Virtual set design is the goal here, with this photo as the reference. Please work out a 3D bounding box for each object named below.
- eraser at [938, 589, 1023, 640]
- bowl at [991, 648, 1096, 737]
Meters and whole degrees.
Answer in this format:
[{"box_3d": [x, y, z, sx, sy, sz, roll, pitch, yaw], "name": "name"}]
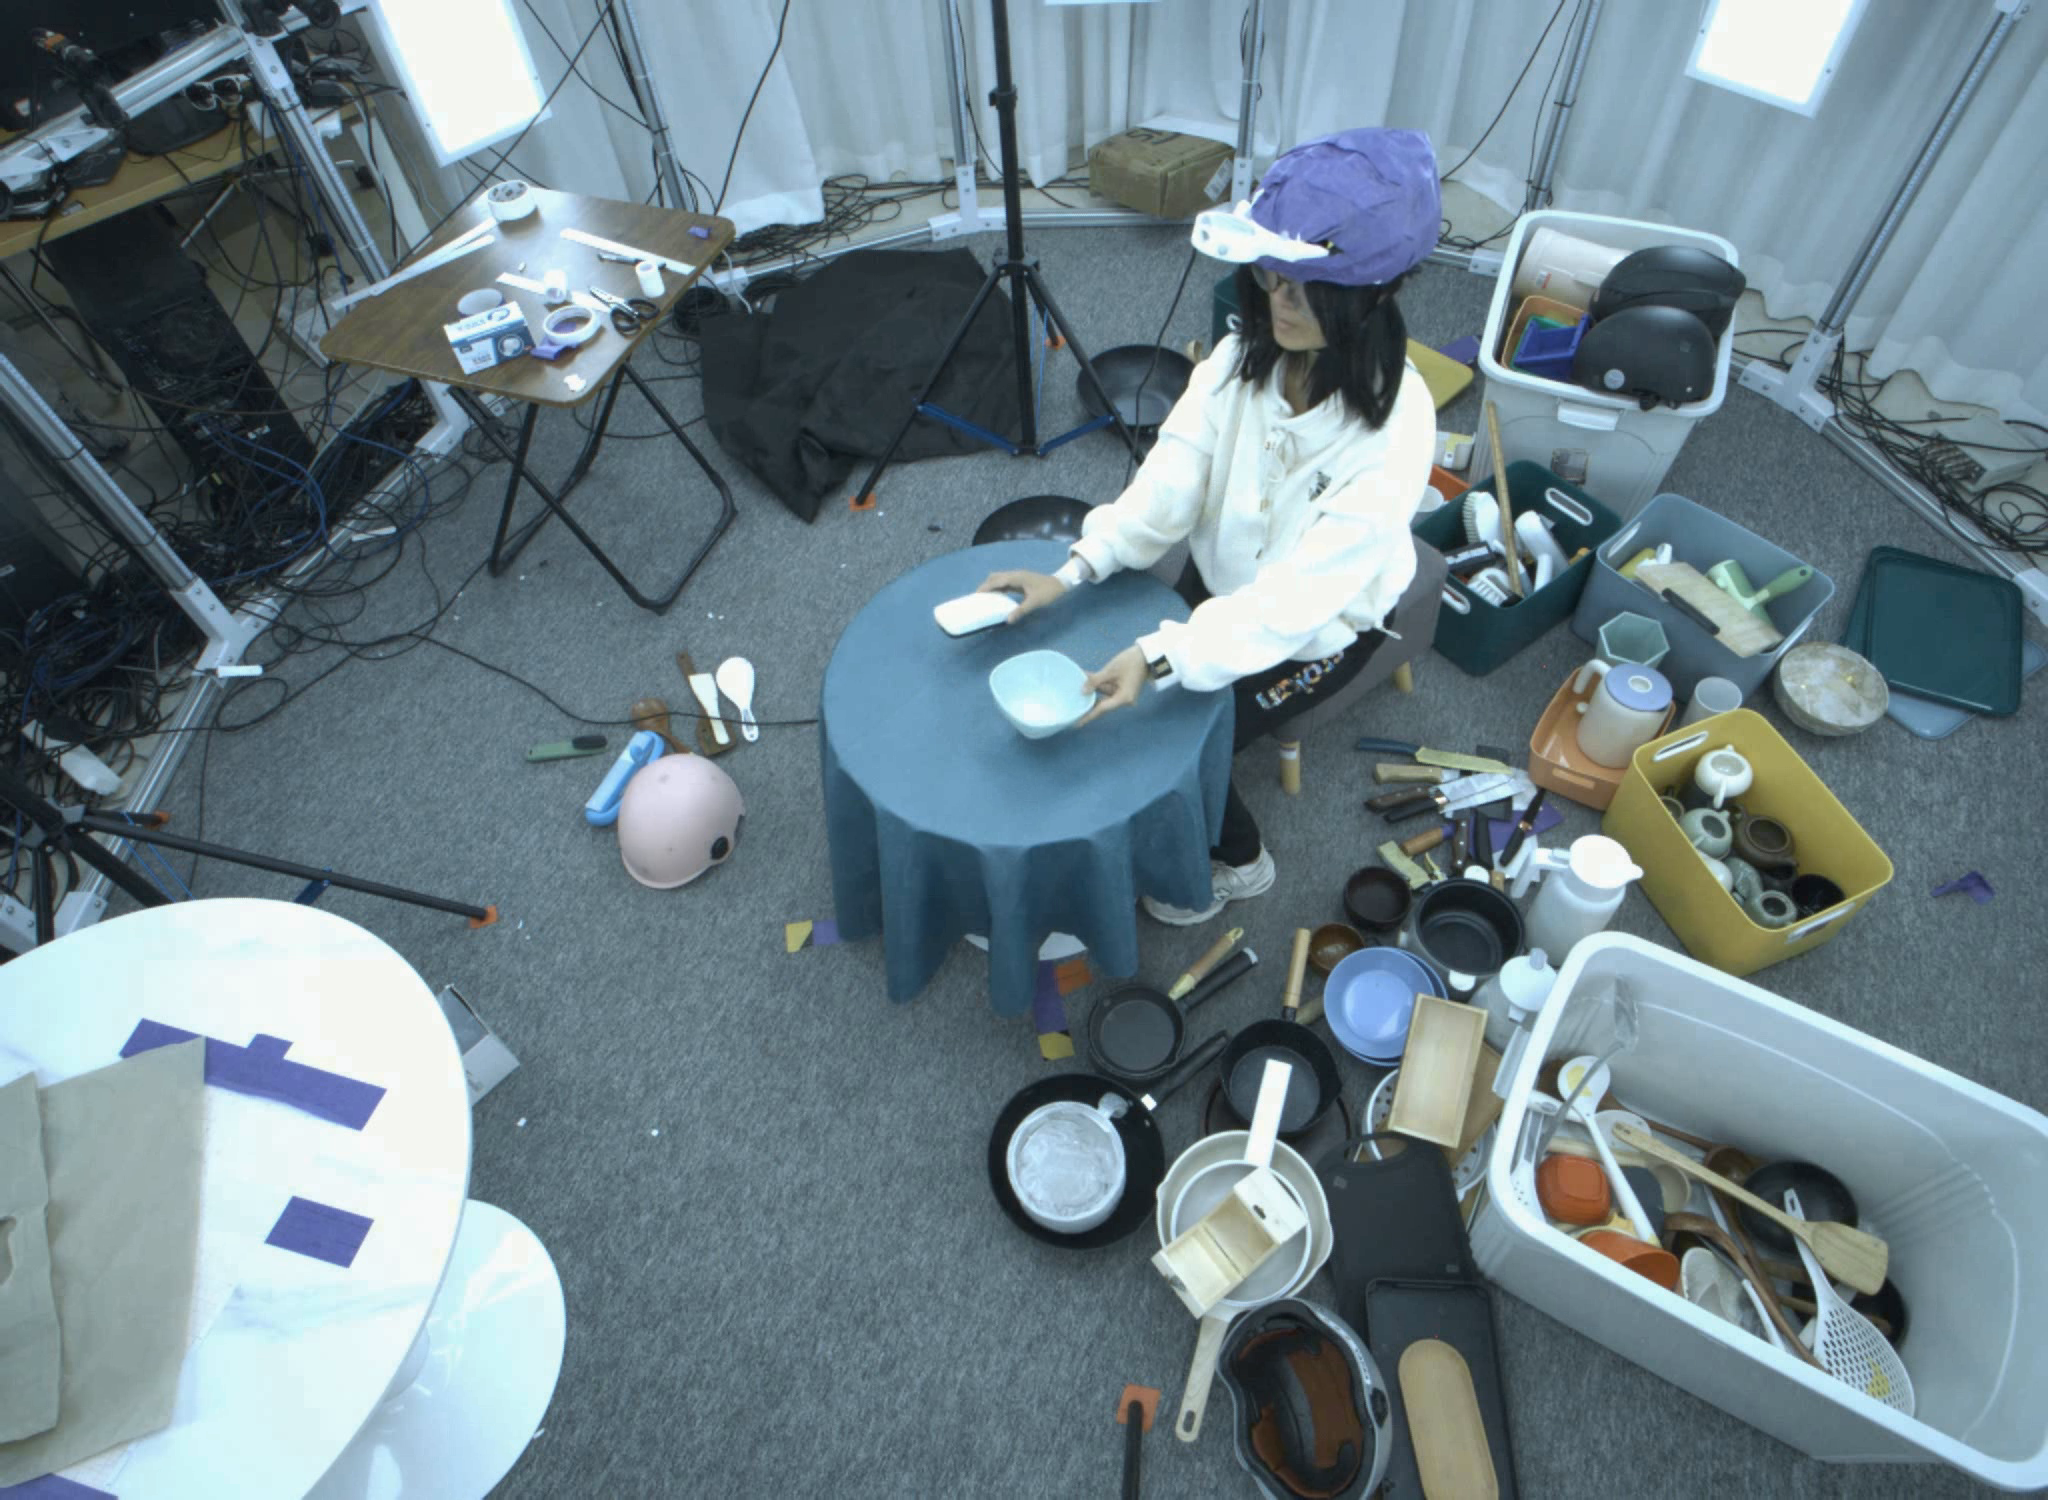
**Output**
[{"box_3d": [-0.066, -0.207, 1.857, 0.133, 0.035, 0.062, -22, 50, -33], "name": "eraser"}, {"box_3d": [0.024, -0.073, 1.757, 0.152, 0.059, 0.150, 7, 51, -7], "name": "bowl"}]
